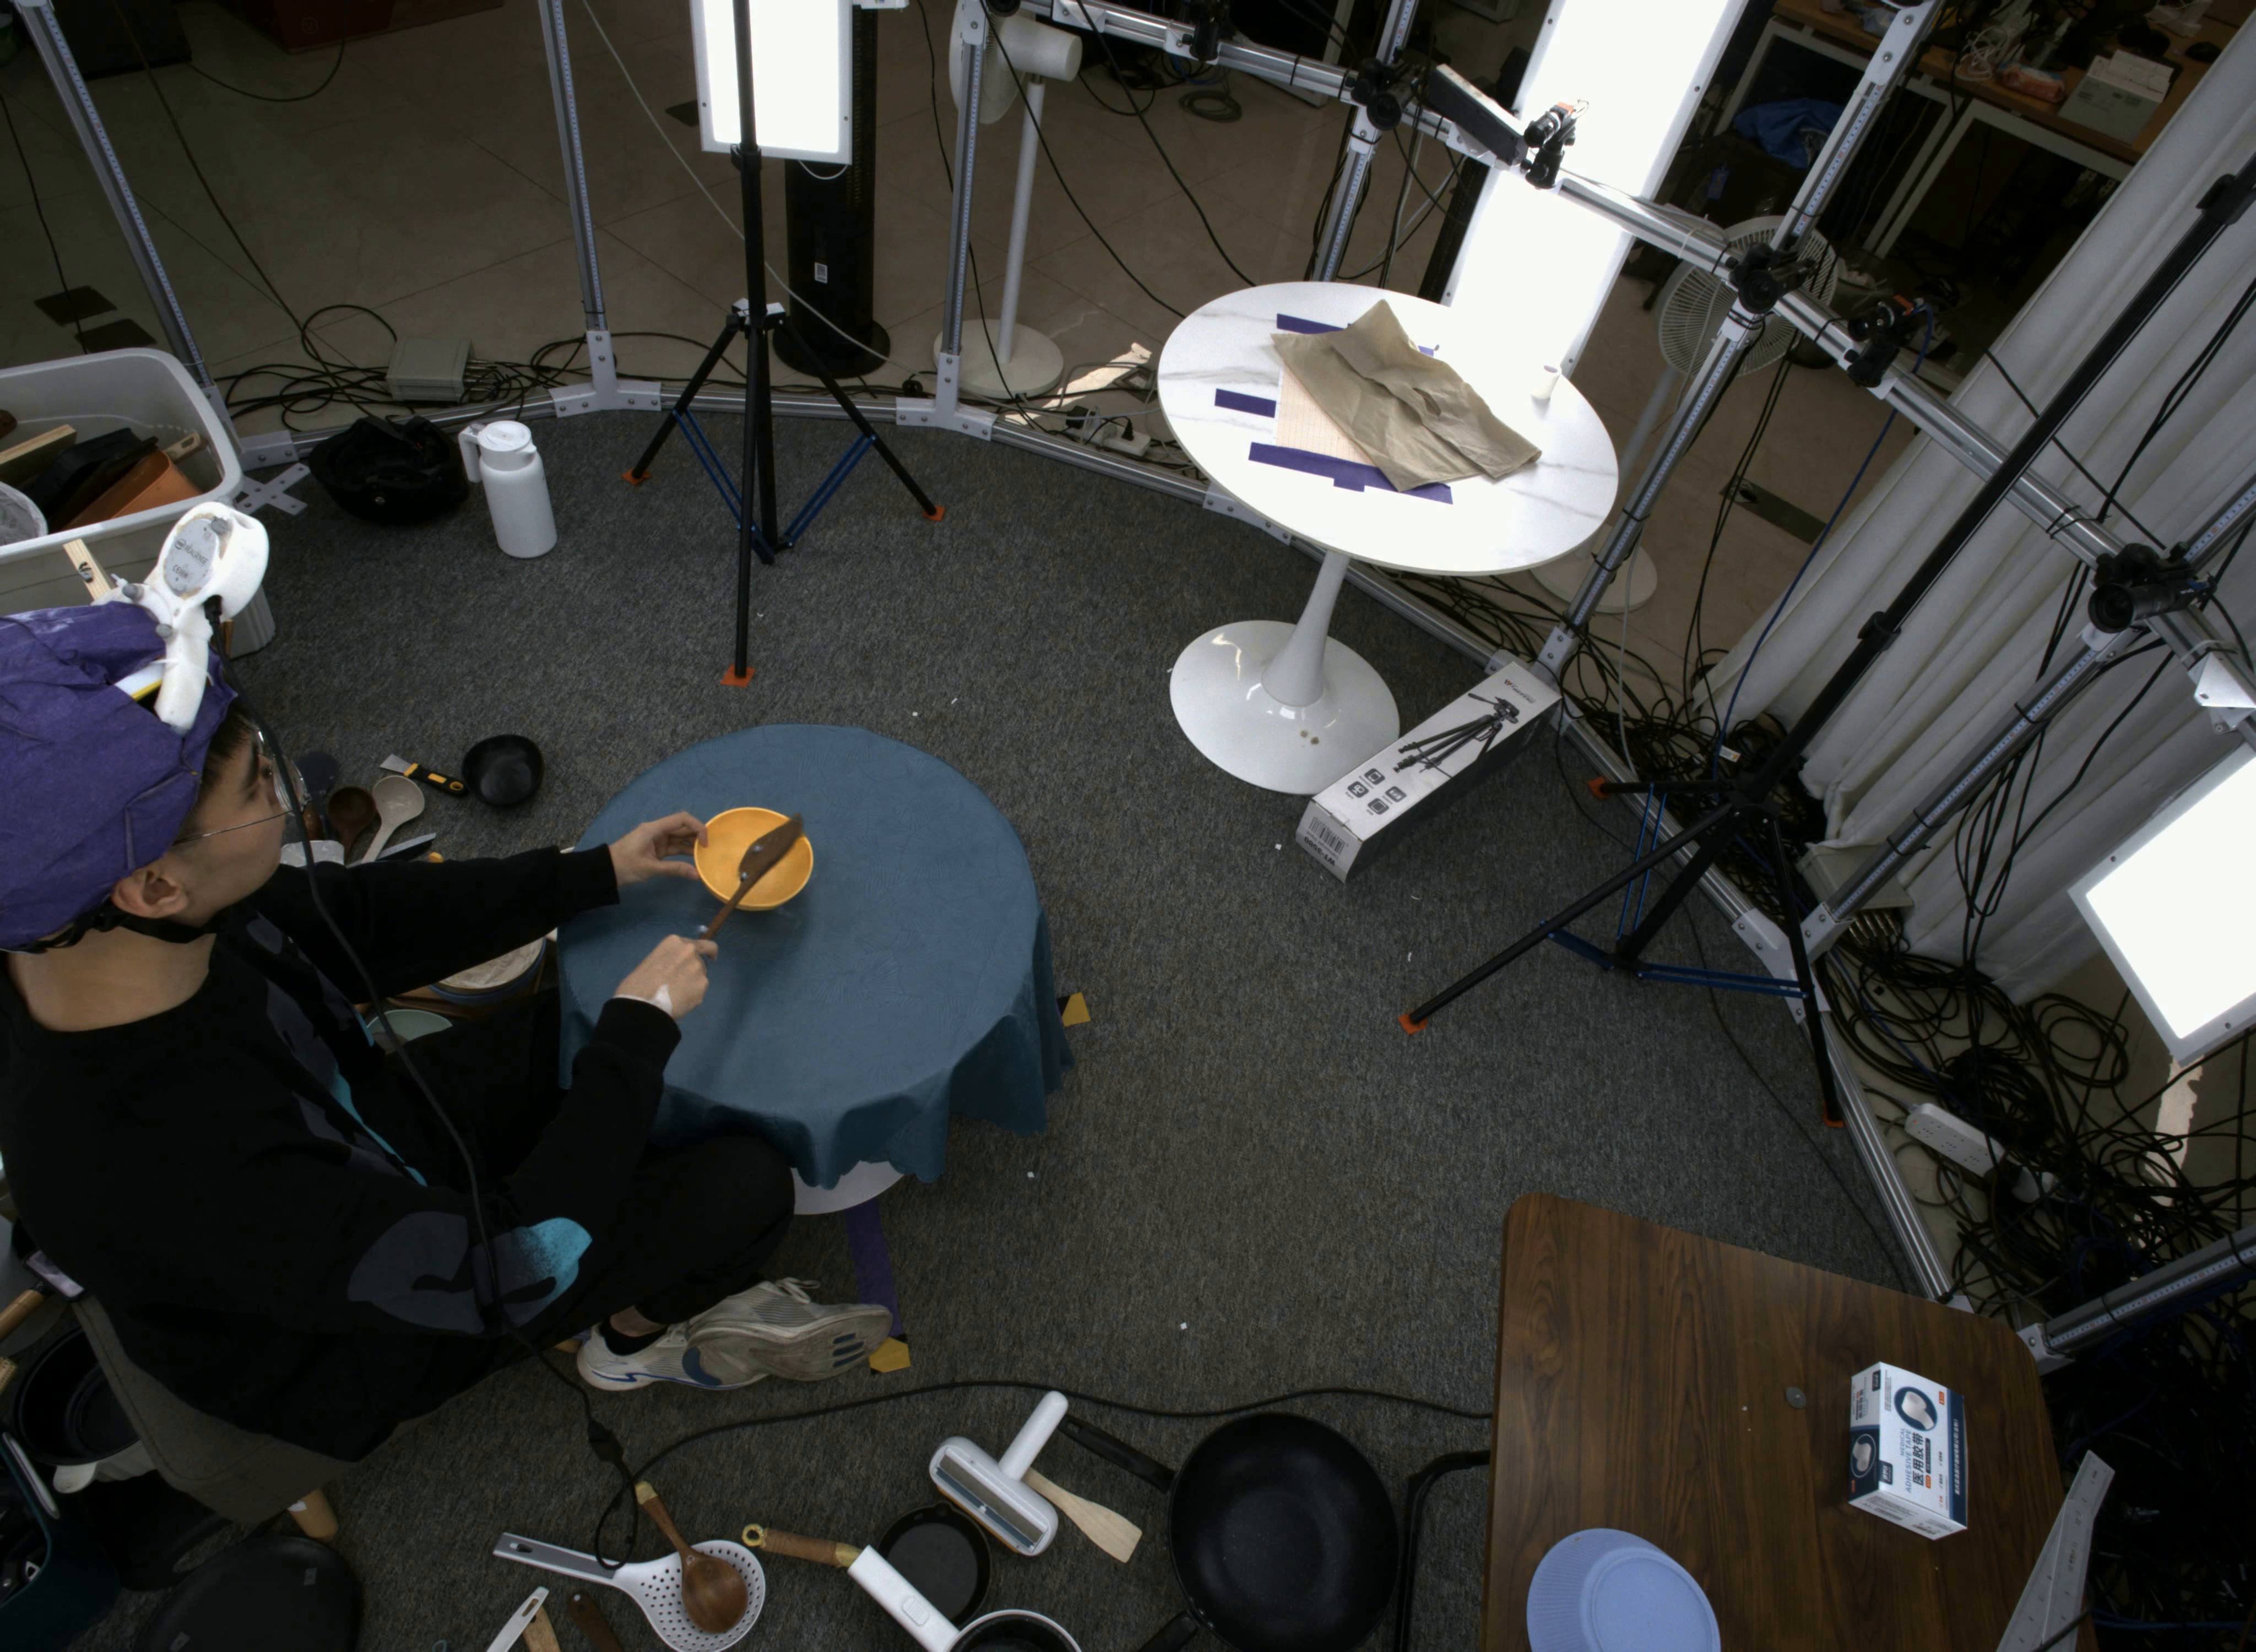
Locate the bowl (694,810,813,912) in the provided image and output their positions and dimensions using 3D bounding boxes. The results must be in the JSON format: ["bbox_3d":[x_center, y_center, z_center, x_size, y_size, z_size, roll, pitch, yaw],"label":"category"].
[{"bbox_3d":[-0.468,0.053,1.614,0.146,0.061,0.143,12,52,-14],"label":"bowl"}]

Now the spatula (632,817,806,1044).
[{"bbox_3d":[-0.456,0.104,1.429,0.094,0.016,0.381,-19,27,24],"label":"spatula"}]
